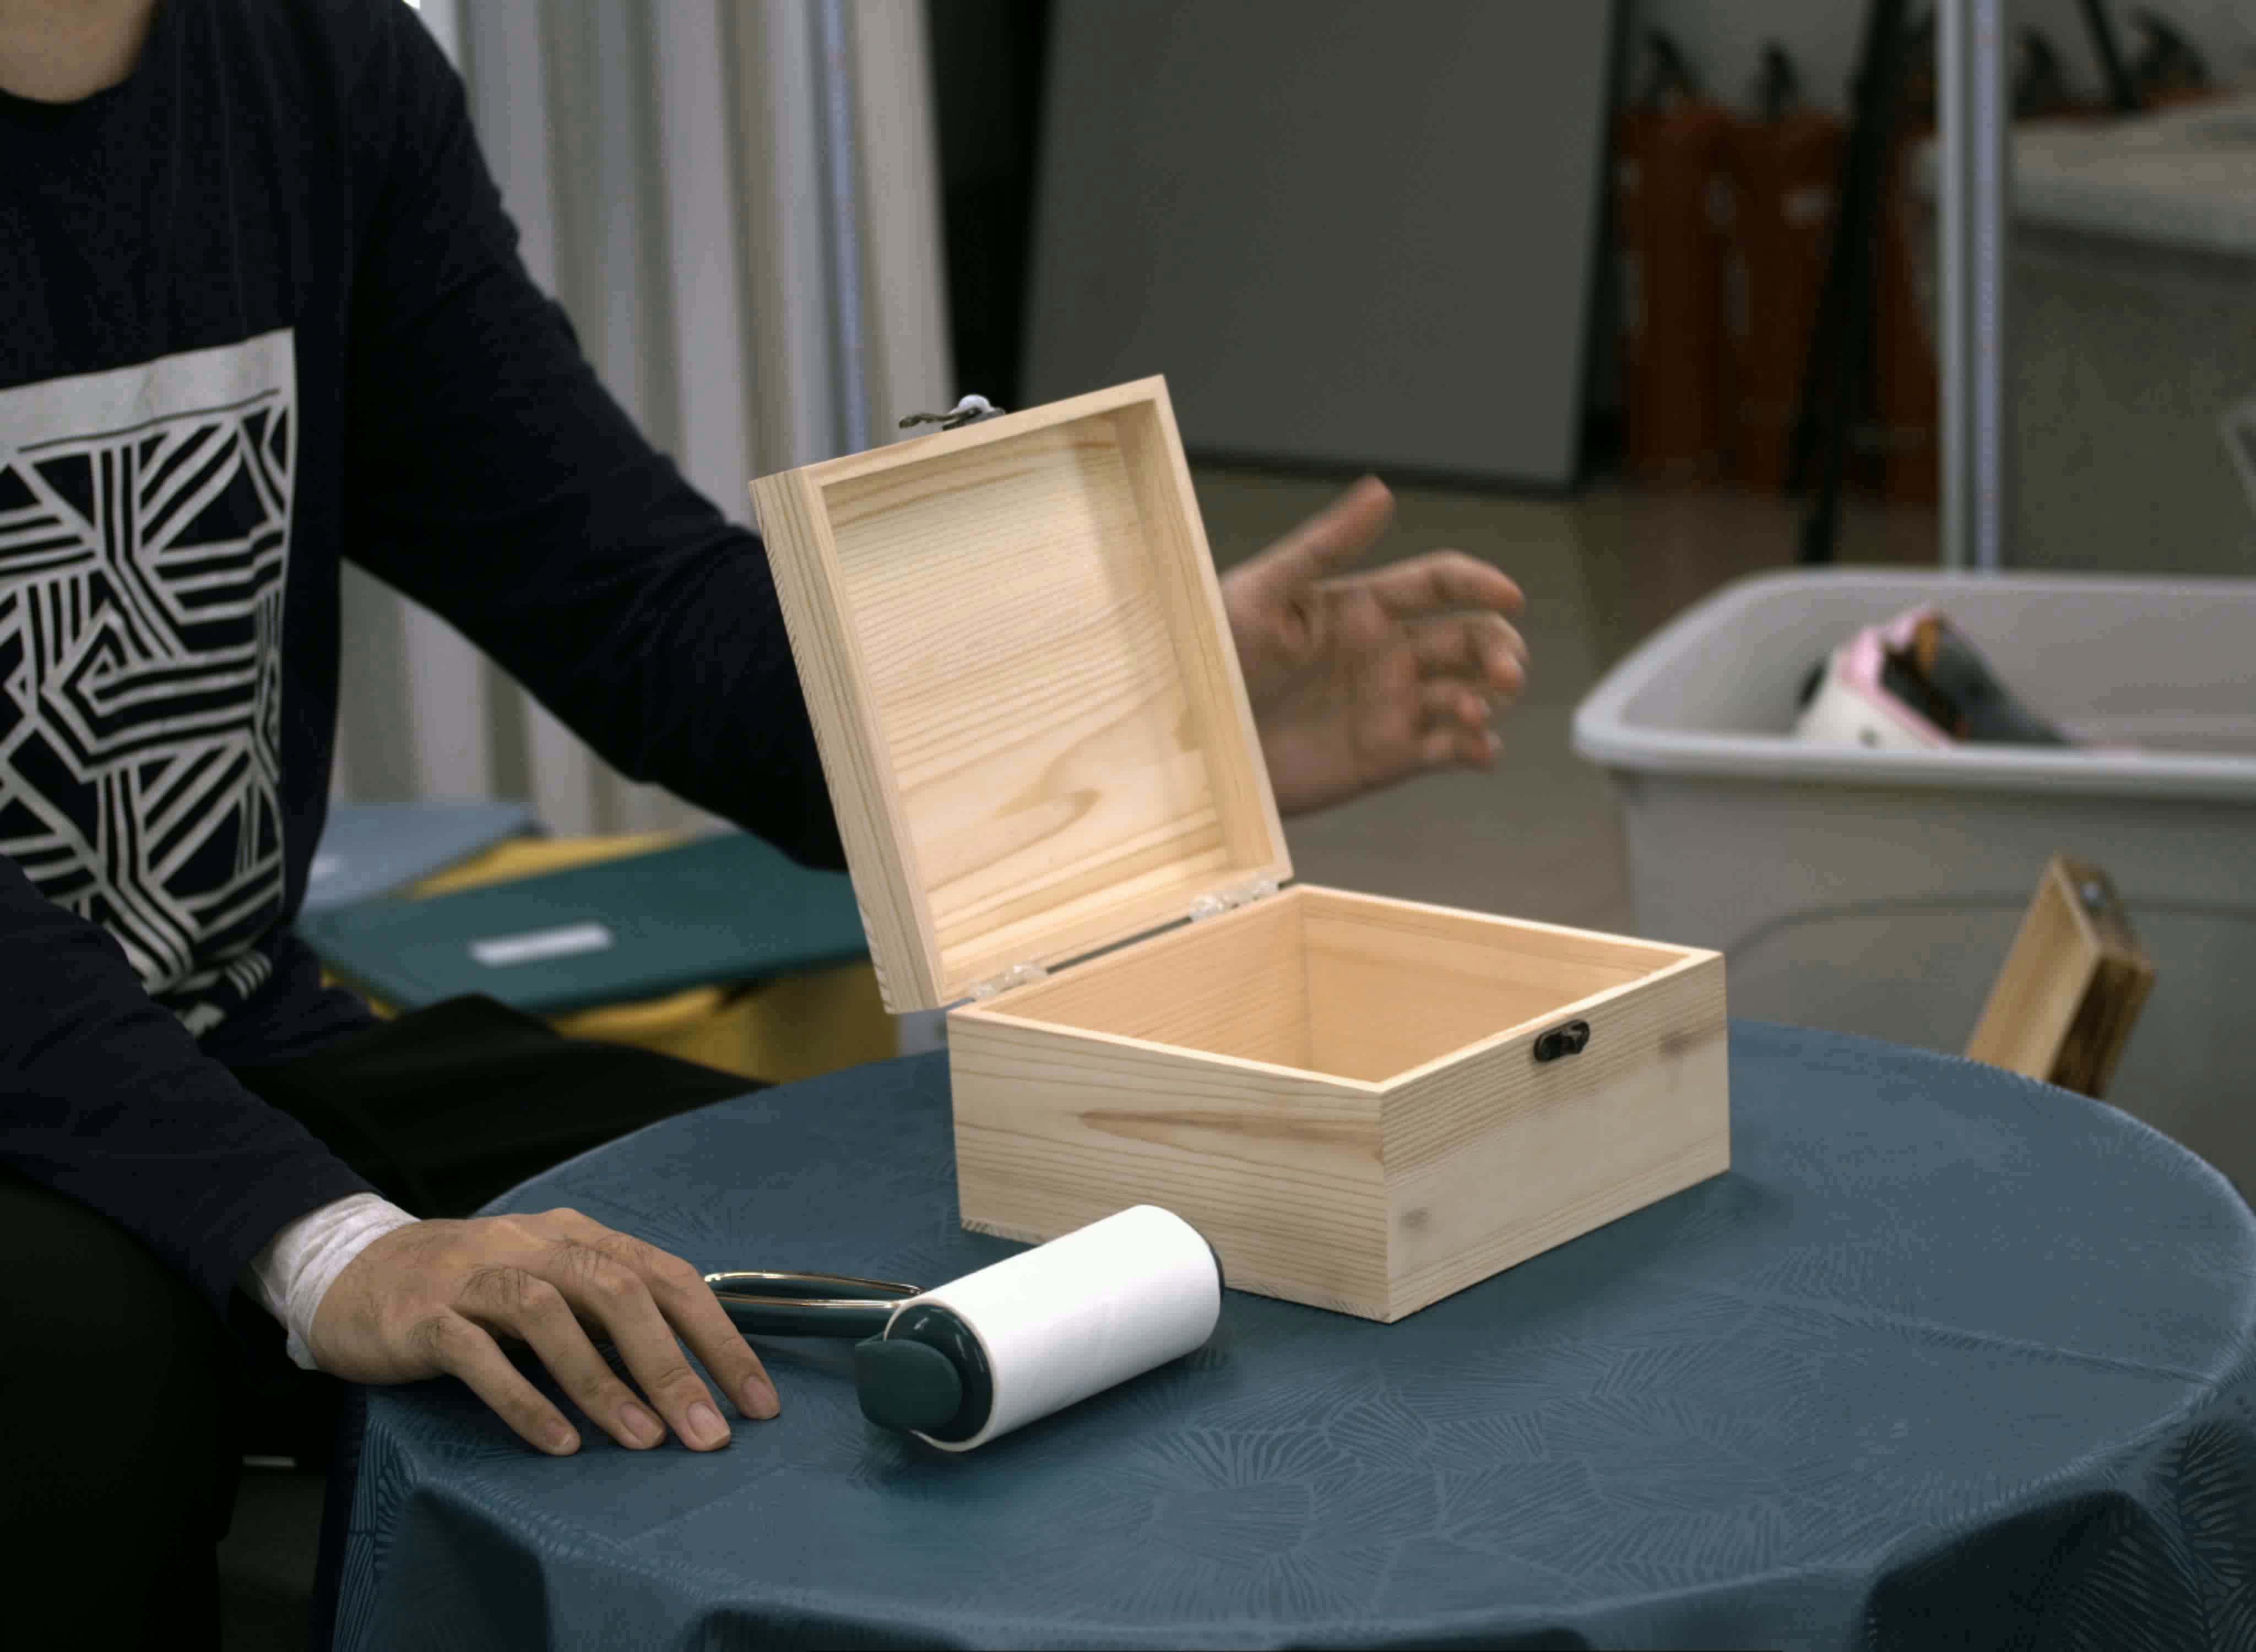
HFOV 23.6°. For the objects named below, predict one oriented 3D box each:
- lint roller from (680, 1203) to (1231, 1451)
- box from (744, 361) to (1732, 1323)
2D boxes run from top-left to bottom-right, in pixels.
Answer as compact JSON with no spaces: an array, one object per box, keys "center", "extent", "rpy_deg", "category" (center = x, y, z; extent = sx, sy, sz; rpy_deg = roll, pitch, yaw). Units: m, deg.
[{"center":[-0.072,0.144,1.622],"extent":[0.181,0.049,0.131],"rpy_deg":[2,14,43],"category":"lint roller"},{"center":[0.040,-0.004,1.745],"extent":[0.267,0.256,0.178],"rpy_deg":[8,18,41],"category":"box"}]
